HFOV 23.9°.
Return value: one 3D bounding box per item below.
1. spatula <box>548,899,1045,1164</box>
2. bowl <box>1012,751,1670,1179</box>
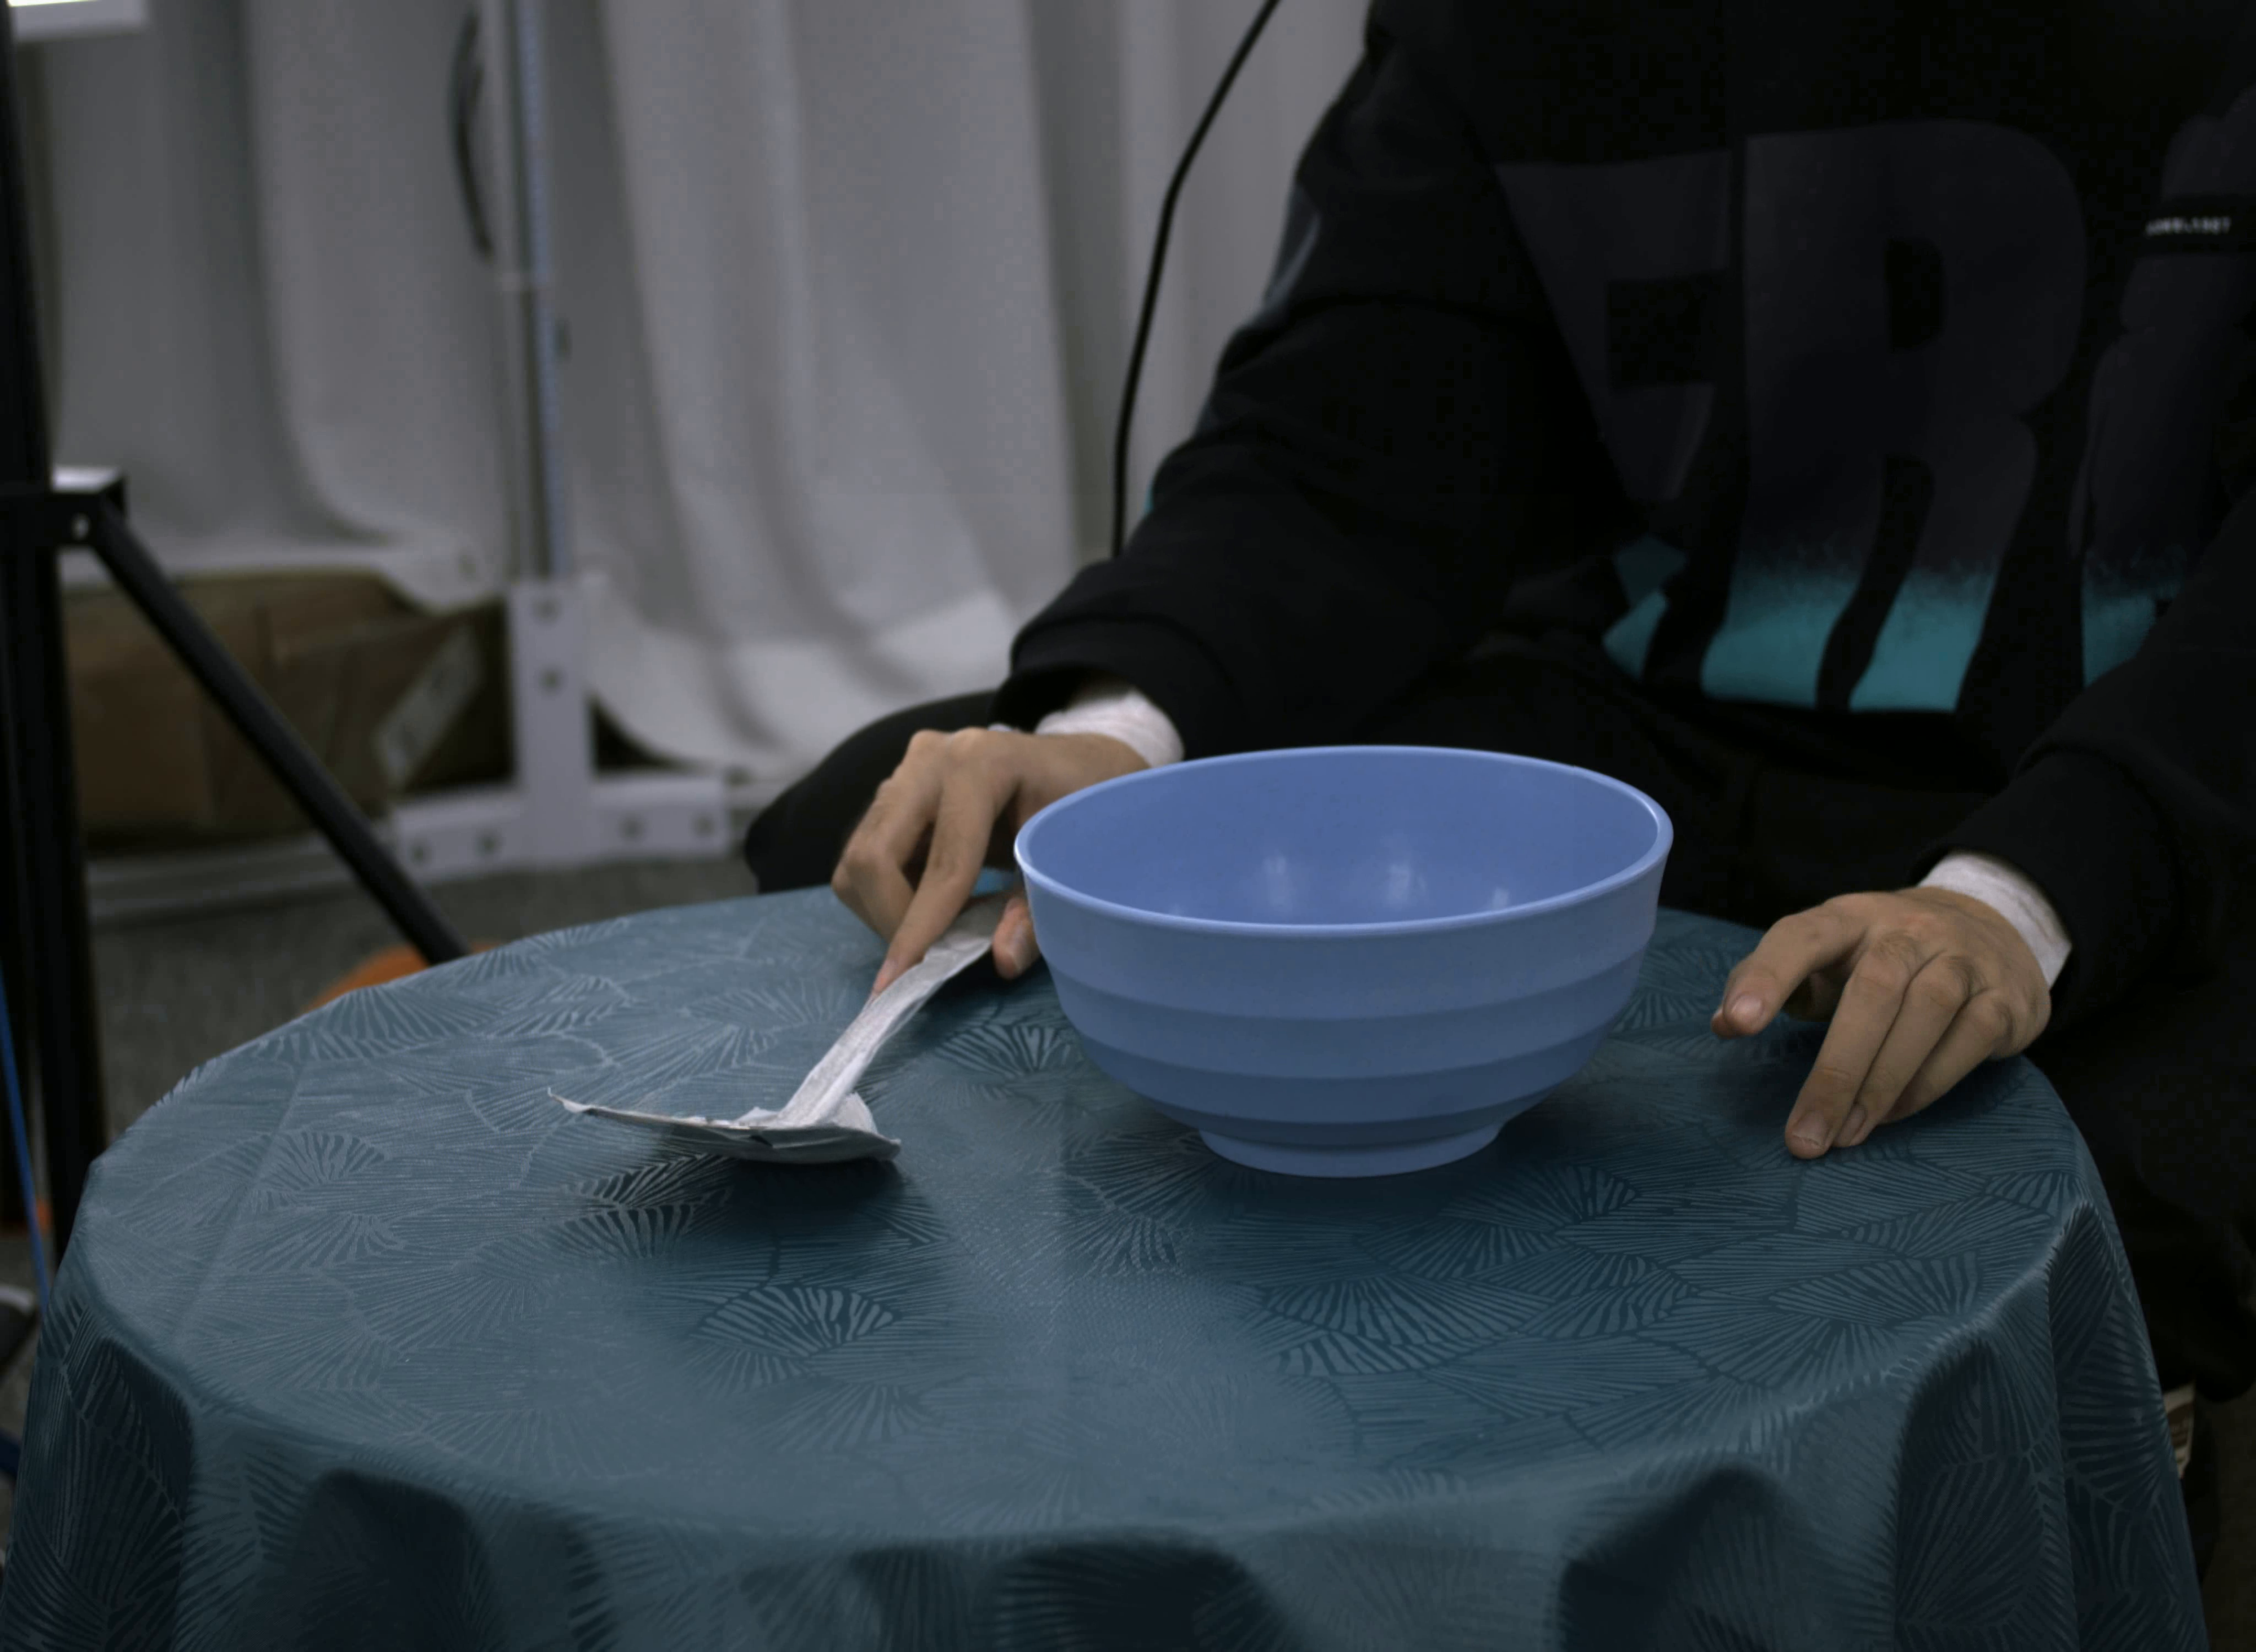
[{"bbox_3d":[-0.070,0.054,1.692,0.100,0.045,0.361,3,17,19],"label":"spatula"},{"bbox_3d":[0.066,0.047,1.592,0.195,0.095,0.197,-4,15,0],"label":"bowl"}]
